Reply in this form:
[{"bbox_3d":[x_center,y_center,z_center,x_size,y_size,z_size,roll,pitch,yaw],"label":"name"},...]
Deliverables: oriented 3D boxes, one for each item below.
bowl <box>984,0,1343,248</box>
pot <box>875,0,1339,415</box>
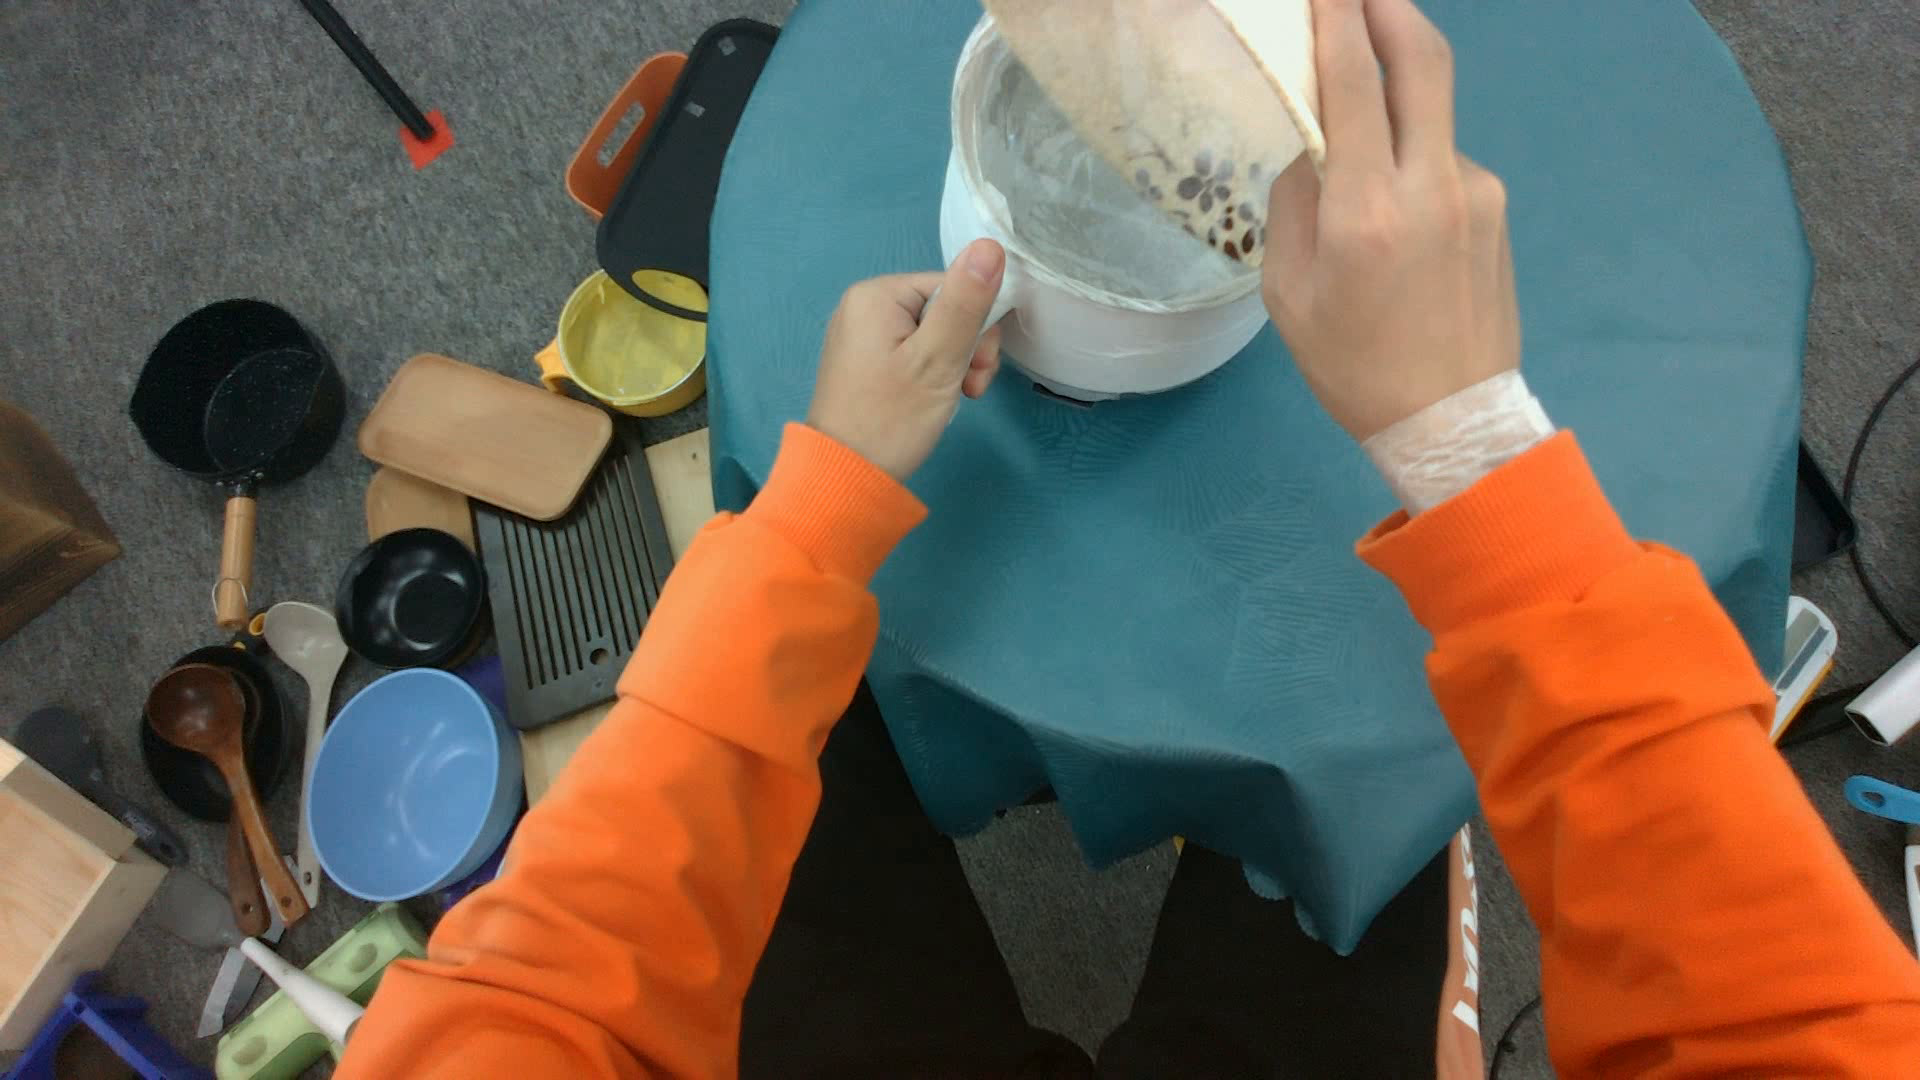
[{"bbox_3d":[0.090,-0.210,0.527,0.204,0.204,0.078,42,90,16],"label":"bowl"},{"bbox_3d":[0.054,-0.155,0.651,0.179,0.136,0.234,44,77,8],"label":"pot"}]
